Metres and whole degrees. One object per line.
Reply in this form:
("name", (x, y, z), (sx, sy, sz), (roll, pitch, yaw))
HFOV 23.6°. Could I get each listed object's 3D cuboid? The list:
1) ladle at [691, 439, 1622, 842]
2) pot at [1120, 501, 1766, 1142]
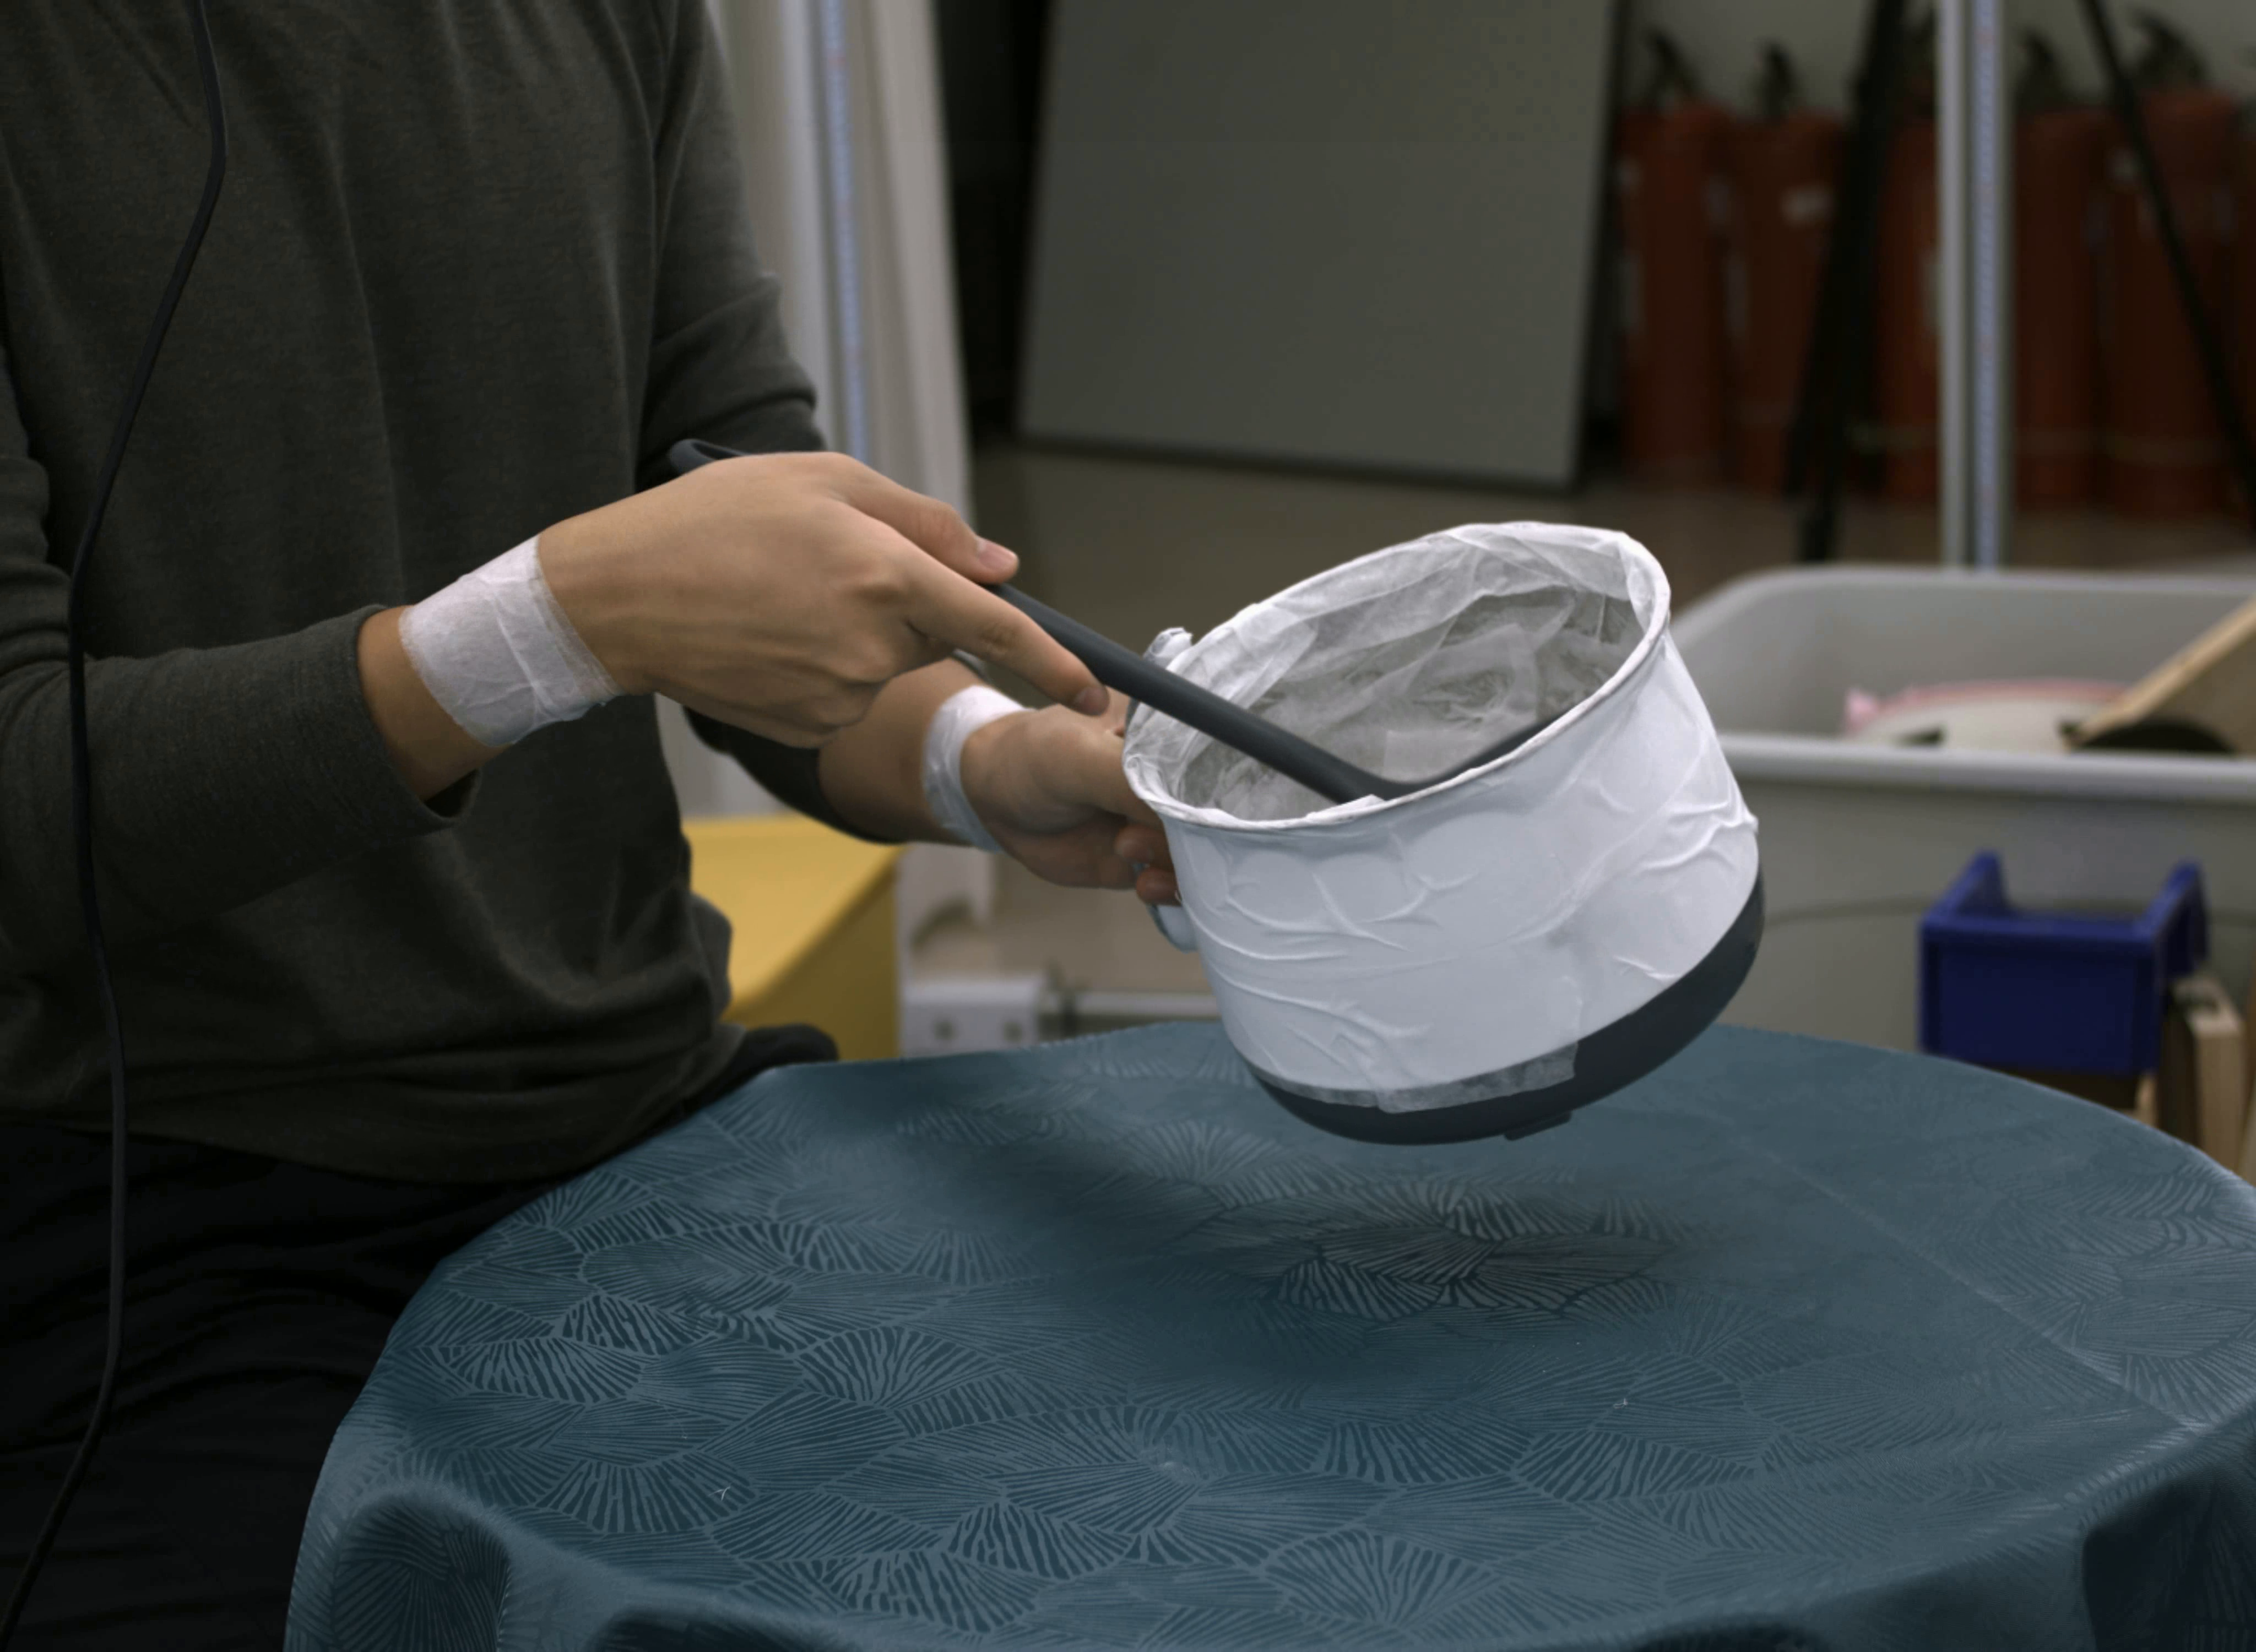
("ladle", (0.009, -0.067, 1.647), (0.313, 0.064, 0.085), (27, 23, 11))
("pot", (0.082, -0.001, 1.678), (0.236, 0.137, 0.176), (6, 37, 47))
